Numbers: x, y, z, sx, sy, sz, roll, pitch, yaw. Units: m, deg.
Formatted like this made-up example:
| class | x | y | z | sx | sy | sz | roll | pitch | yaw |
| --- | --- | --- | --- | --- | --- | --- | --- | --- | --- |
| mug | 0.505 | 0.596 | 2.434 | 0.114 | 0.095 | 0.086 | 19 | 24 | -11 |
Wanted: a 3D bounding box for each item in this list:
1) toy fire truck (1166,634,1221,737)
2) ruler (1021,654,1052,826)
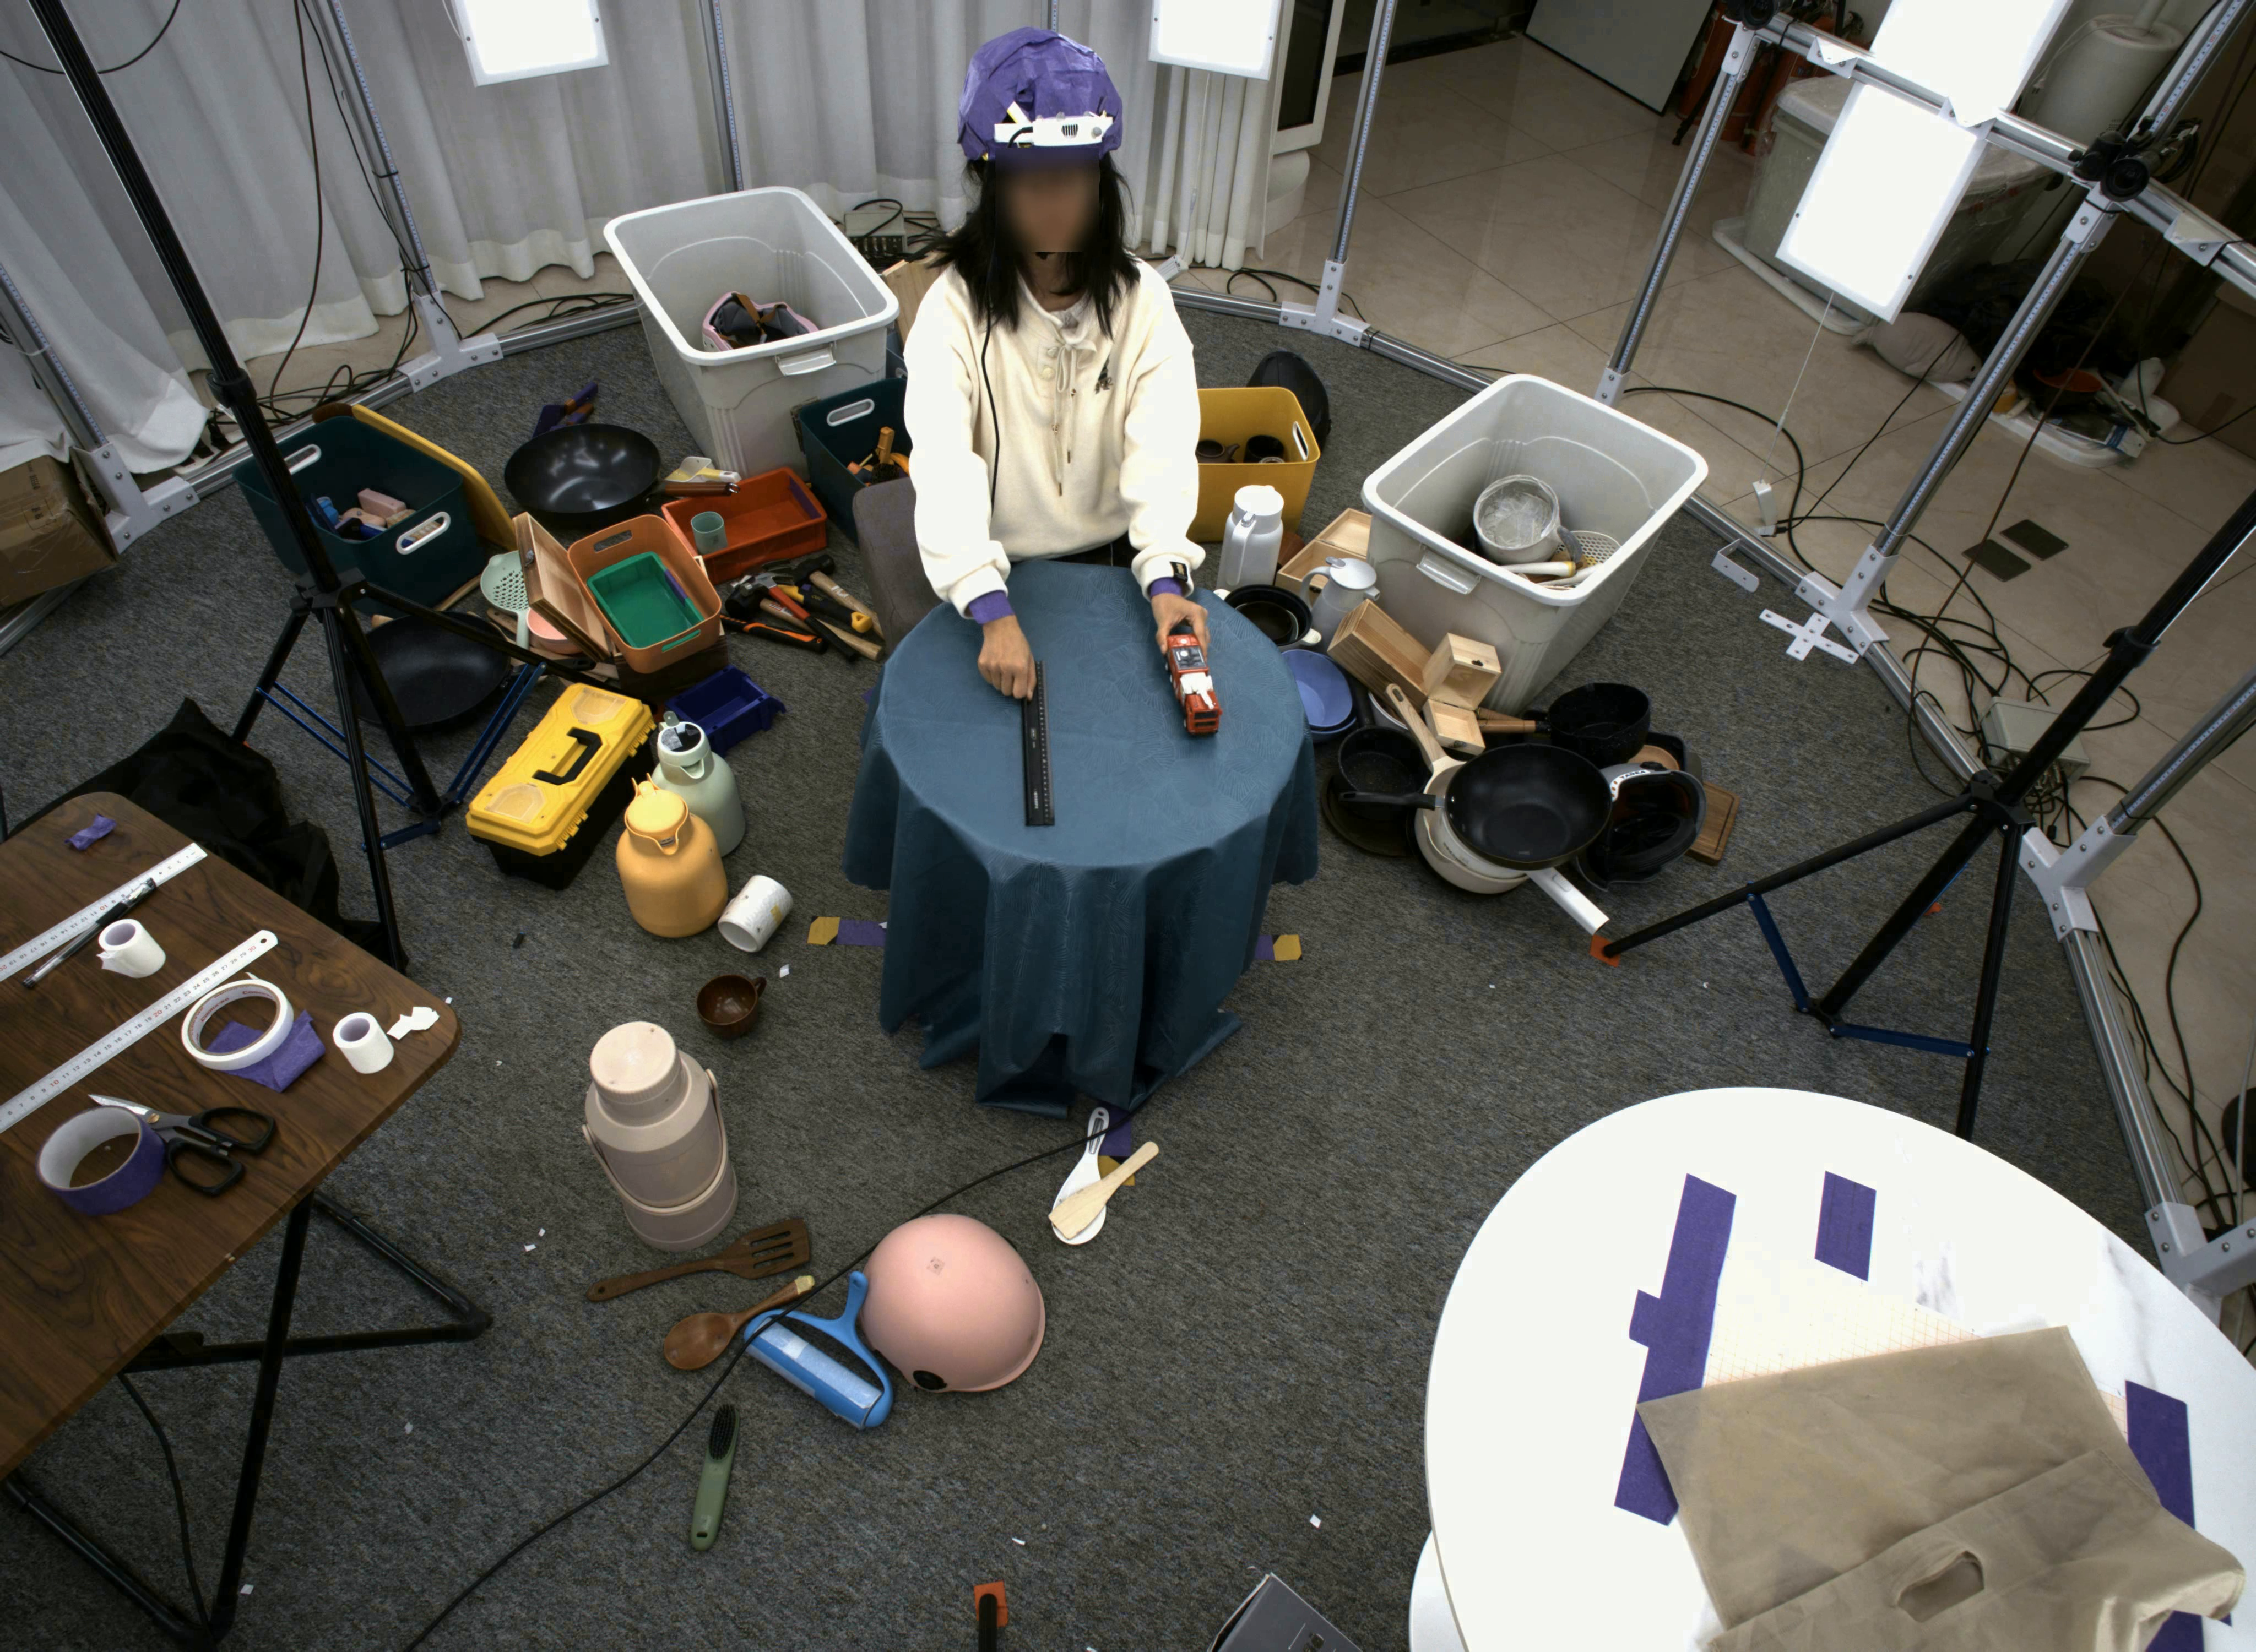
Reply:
| class | x | y | z | sx | sy | sz | roll | pitch | yaw |
| --- | --- | --- | --- | --- | --- | --- | --- | --- | --- |
| toy fire truck | 0.092 | -0.200 | 1.812 | 0.054 | 0.068 | 0.172 | -6 | 49 | -10 |
| ruler | -0.126 | -0.125 | 1.759 | 0.039 | 0.017 | 0.320 | 1 | 49 | -6 |
